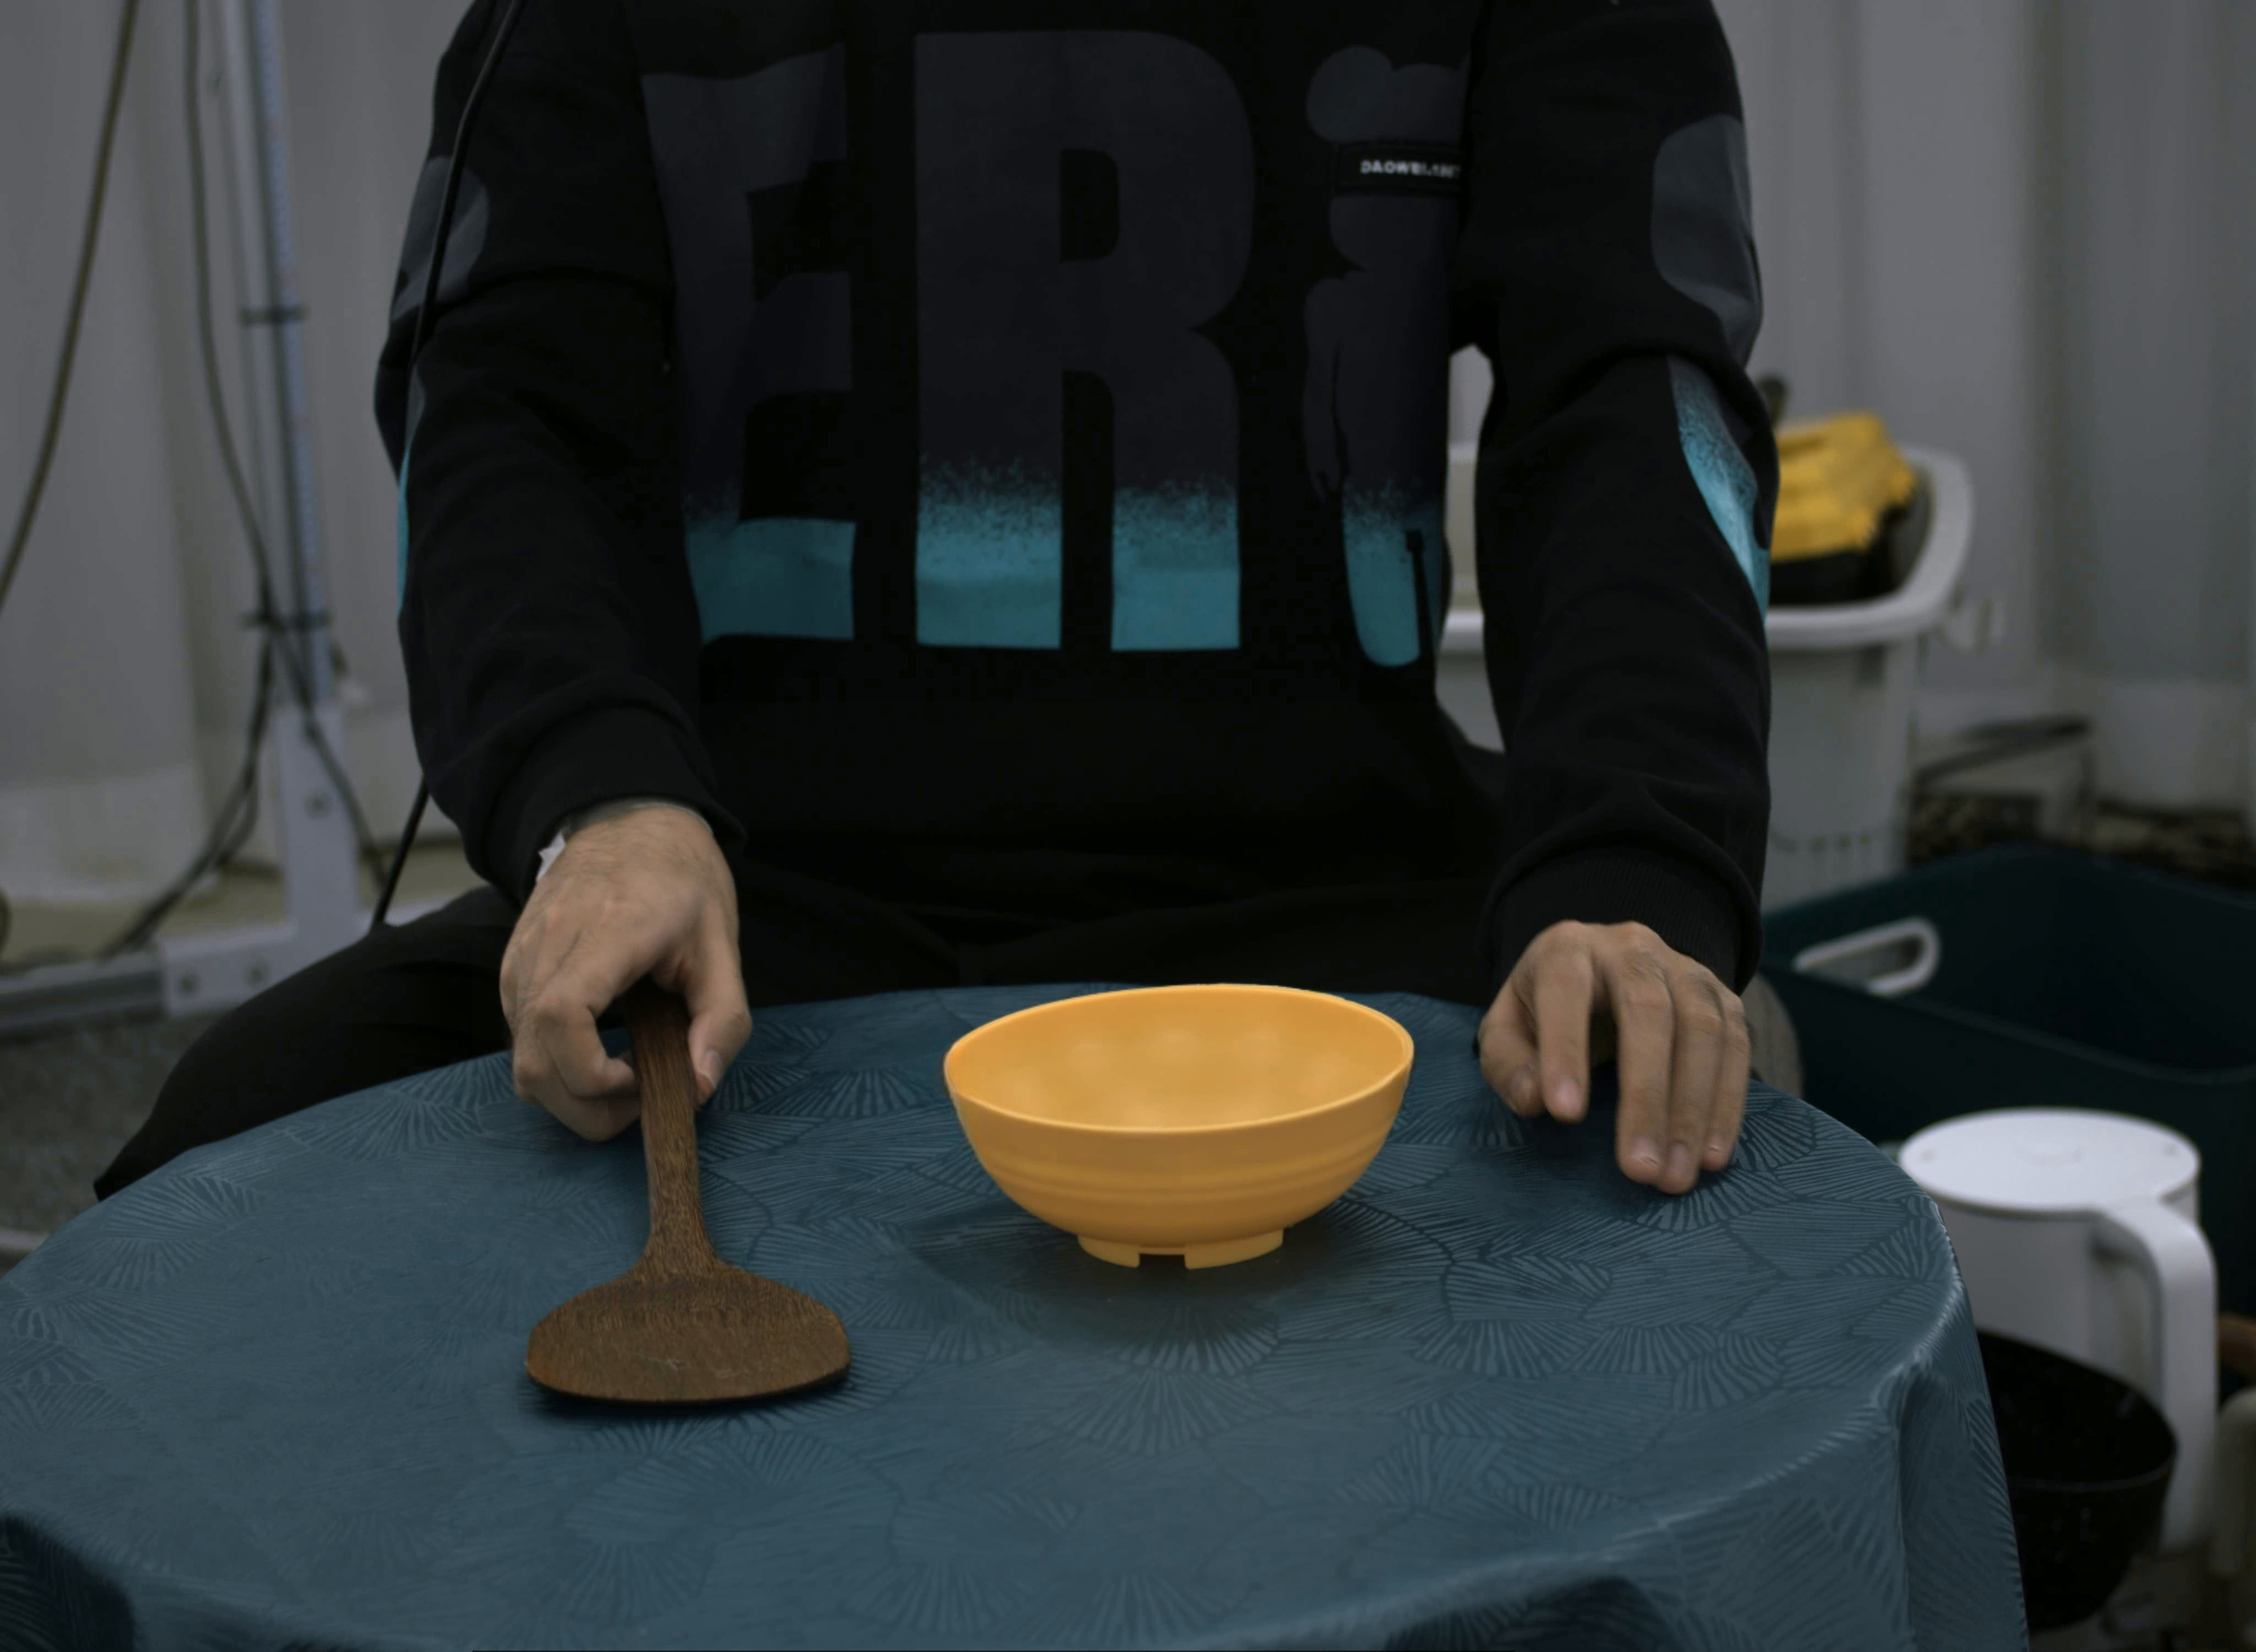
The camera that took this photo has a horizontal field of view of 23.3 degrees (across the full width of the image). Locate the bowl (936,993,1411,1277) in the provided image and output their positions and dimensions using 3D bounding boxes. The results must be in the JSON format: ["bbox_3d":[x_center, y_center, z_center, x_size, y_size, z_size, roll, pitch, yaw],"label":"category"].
[{"bbox_3d":[0.014,0.099,1.665,0.145,0.060,0.146,0,14,0],"label":"bowl"}]

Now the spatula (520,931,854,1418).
[{"bbox_3d":[-0.144,0.102,1.721,0.096,0.015,0.390,-3,20,-6],"label":"spatula"}]
